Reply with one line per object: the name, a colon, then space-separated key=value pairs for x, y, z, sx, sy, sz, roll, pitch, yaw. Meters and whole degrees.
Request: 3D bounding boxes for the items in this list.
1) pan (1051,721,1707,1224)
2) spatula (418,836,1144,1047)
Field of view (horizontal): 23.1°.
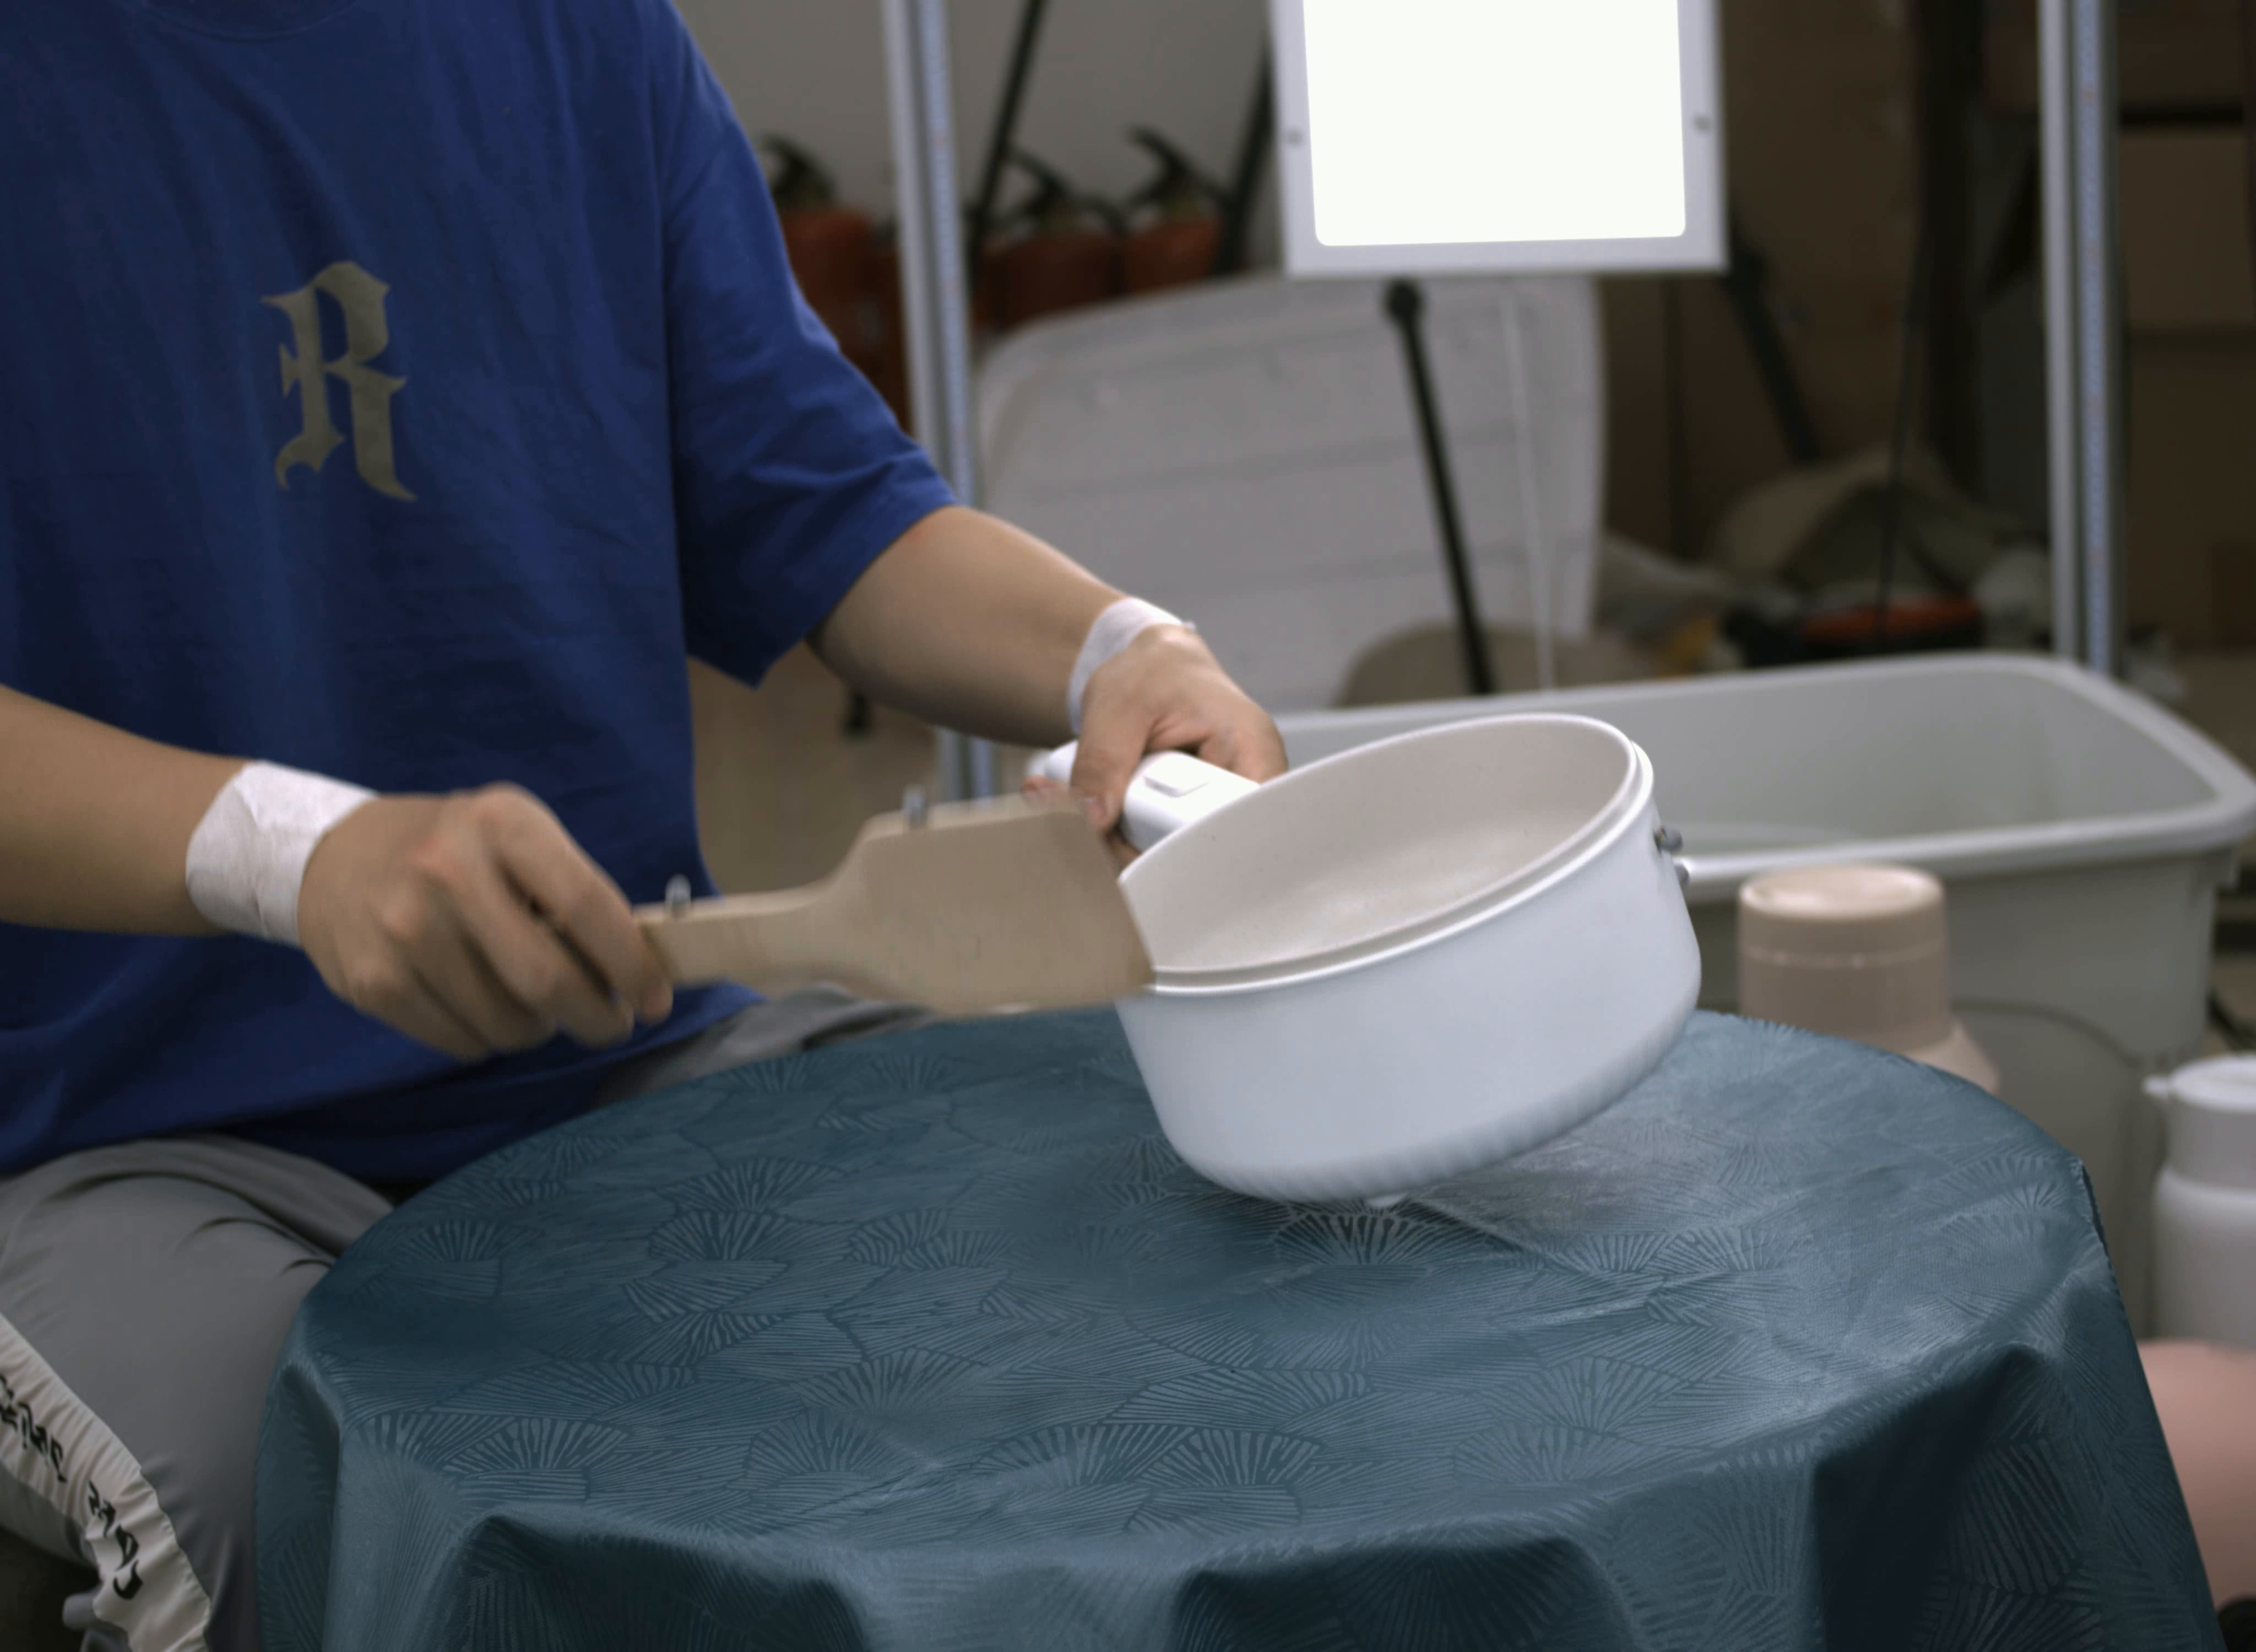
pan: x=0.067 y=0.040 z=1.941 sx=0.198 sy=0.102 sz=0.360 roll=-27 pitch=19 yaw=-16
spatula: x=-0.122 y=0.043 z=1.772 sx=0.299 sy=0.072 sz=0.010 roll=-5 pitch=28 yaw=39
